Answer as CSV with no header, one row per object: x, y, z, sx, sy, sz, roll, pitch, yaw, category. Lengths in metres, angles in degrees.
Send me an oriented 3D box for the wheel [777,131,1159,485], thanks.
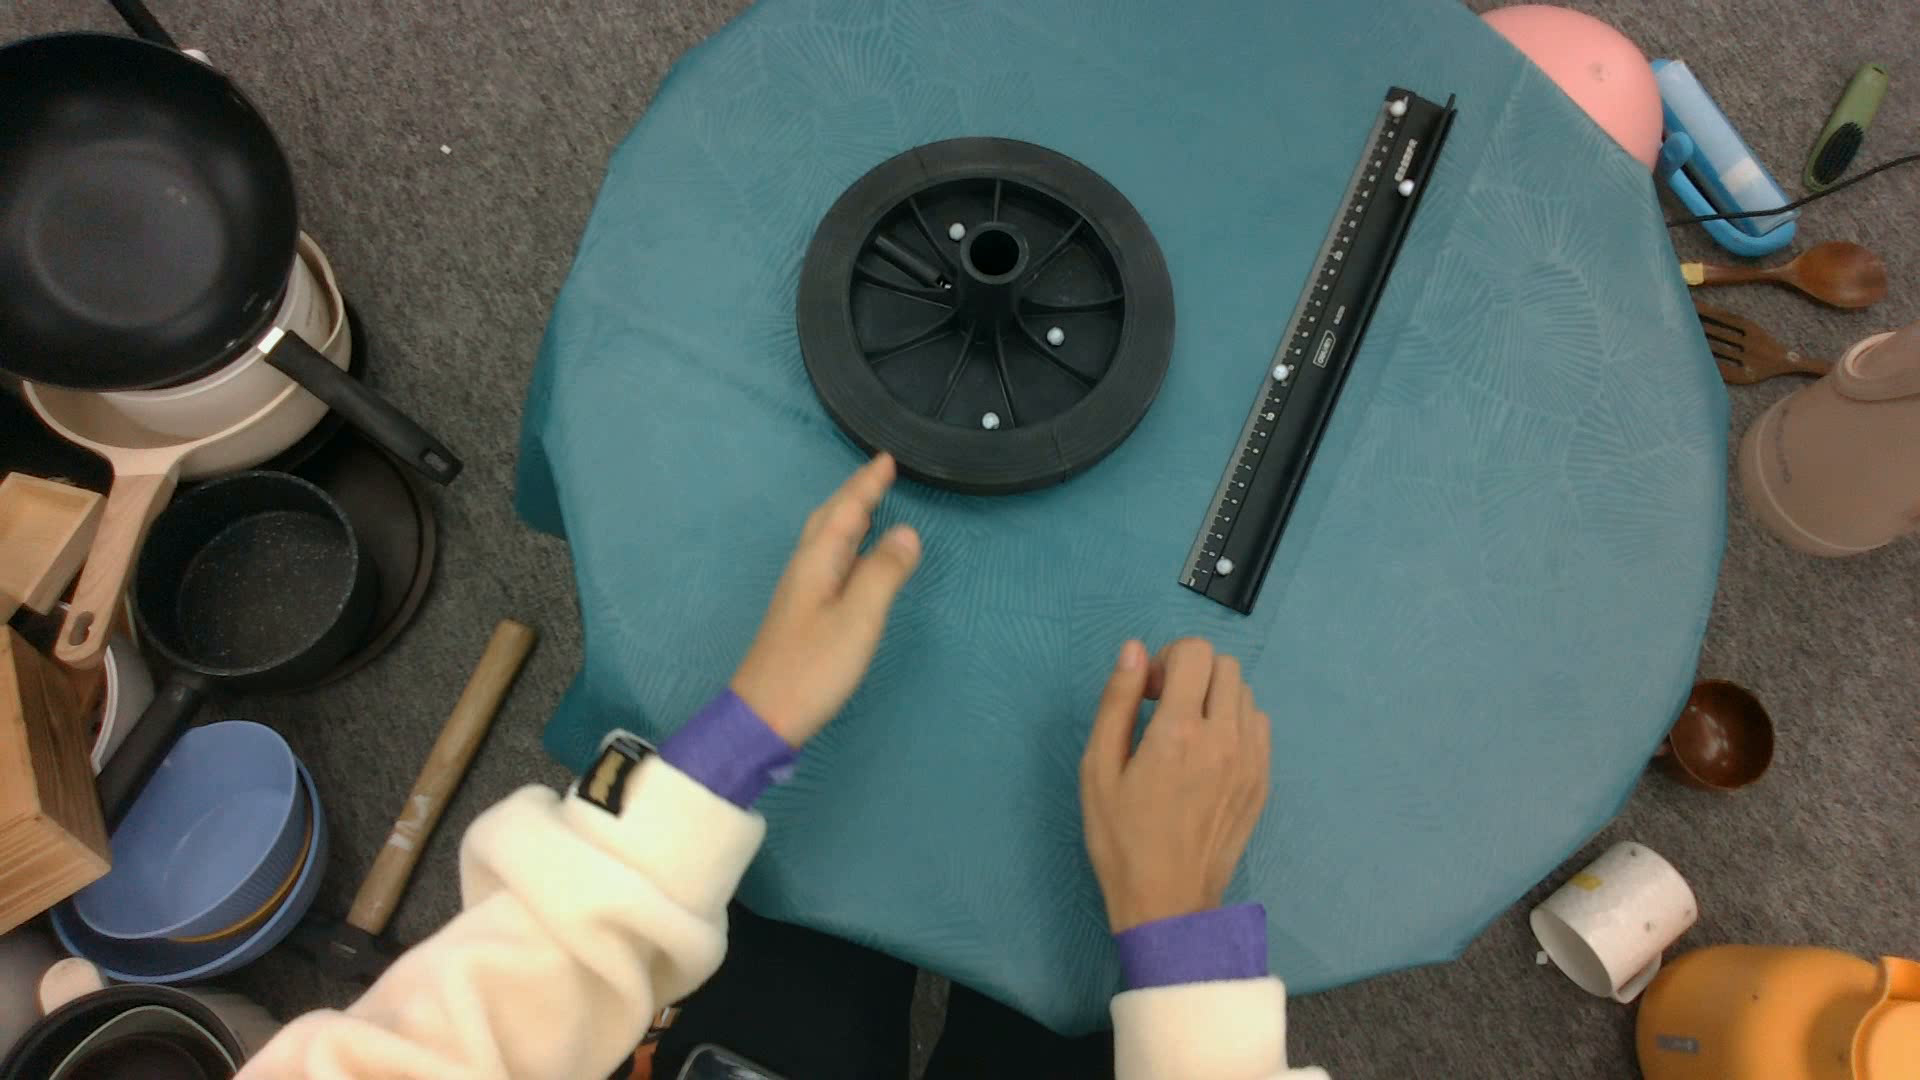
0.005,-0.124,0.665,0.190,0.079,0.188,12,73,1,wheel

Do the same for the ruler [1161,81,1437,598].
0.181,-0.115,0.710,0.039,0.017,0.313,25,74,6,ruler
